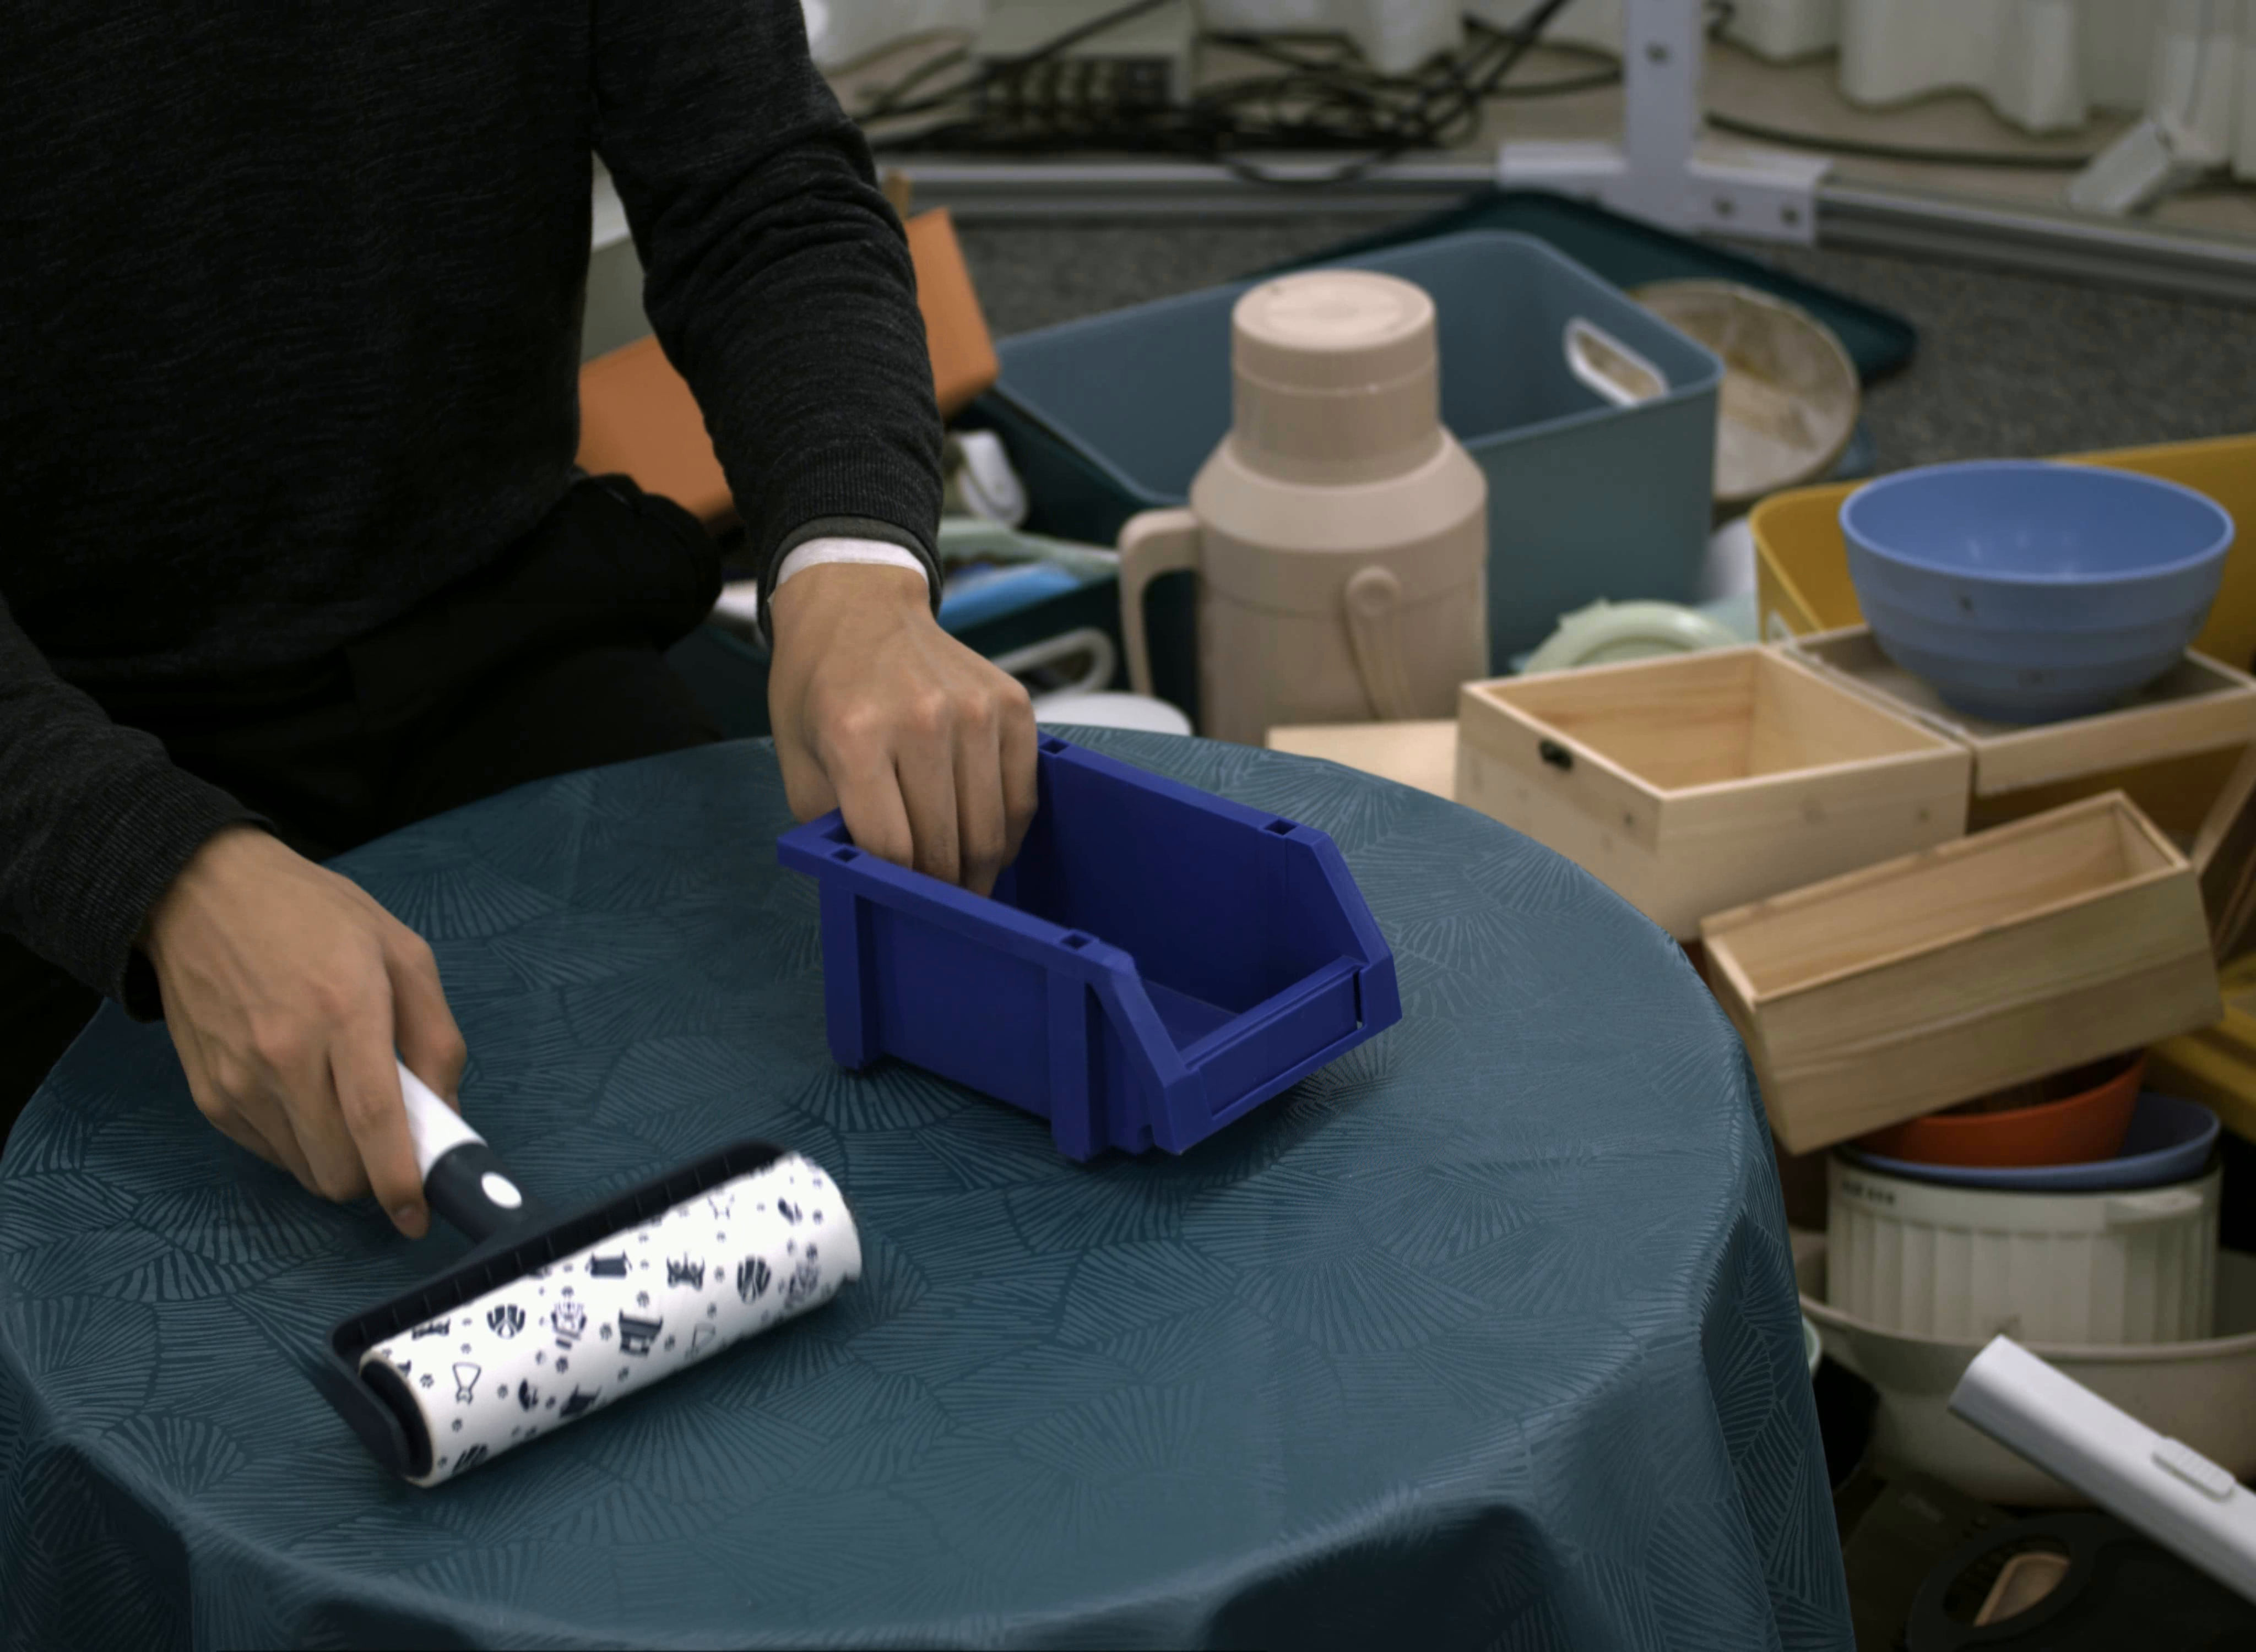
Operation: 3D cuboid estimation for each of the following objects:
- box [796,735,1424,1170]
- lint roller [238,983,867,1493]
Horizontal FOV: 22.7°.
[{"bbox_3d":[-0.005,0.045,1.919,0.179,0.081,0.126,17,32,39],"label":"box"},{"bbox_3d":[-0.223,0.111,1.822,0.178,0.049,0.248,-23,41,-31],"label":"lint roller"}]
